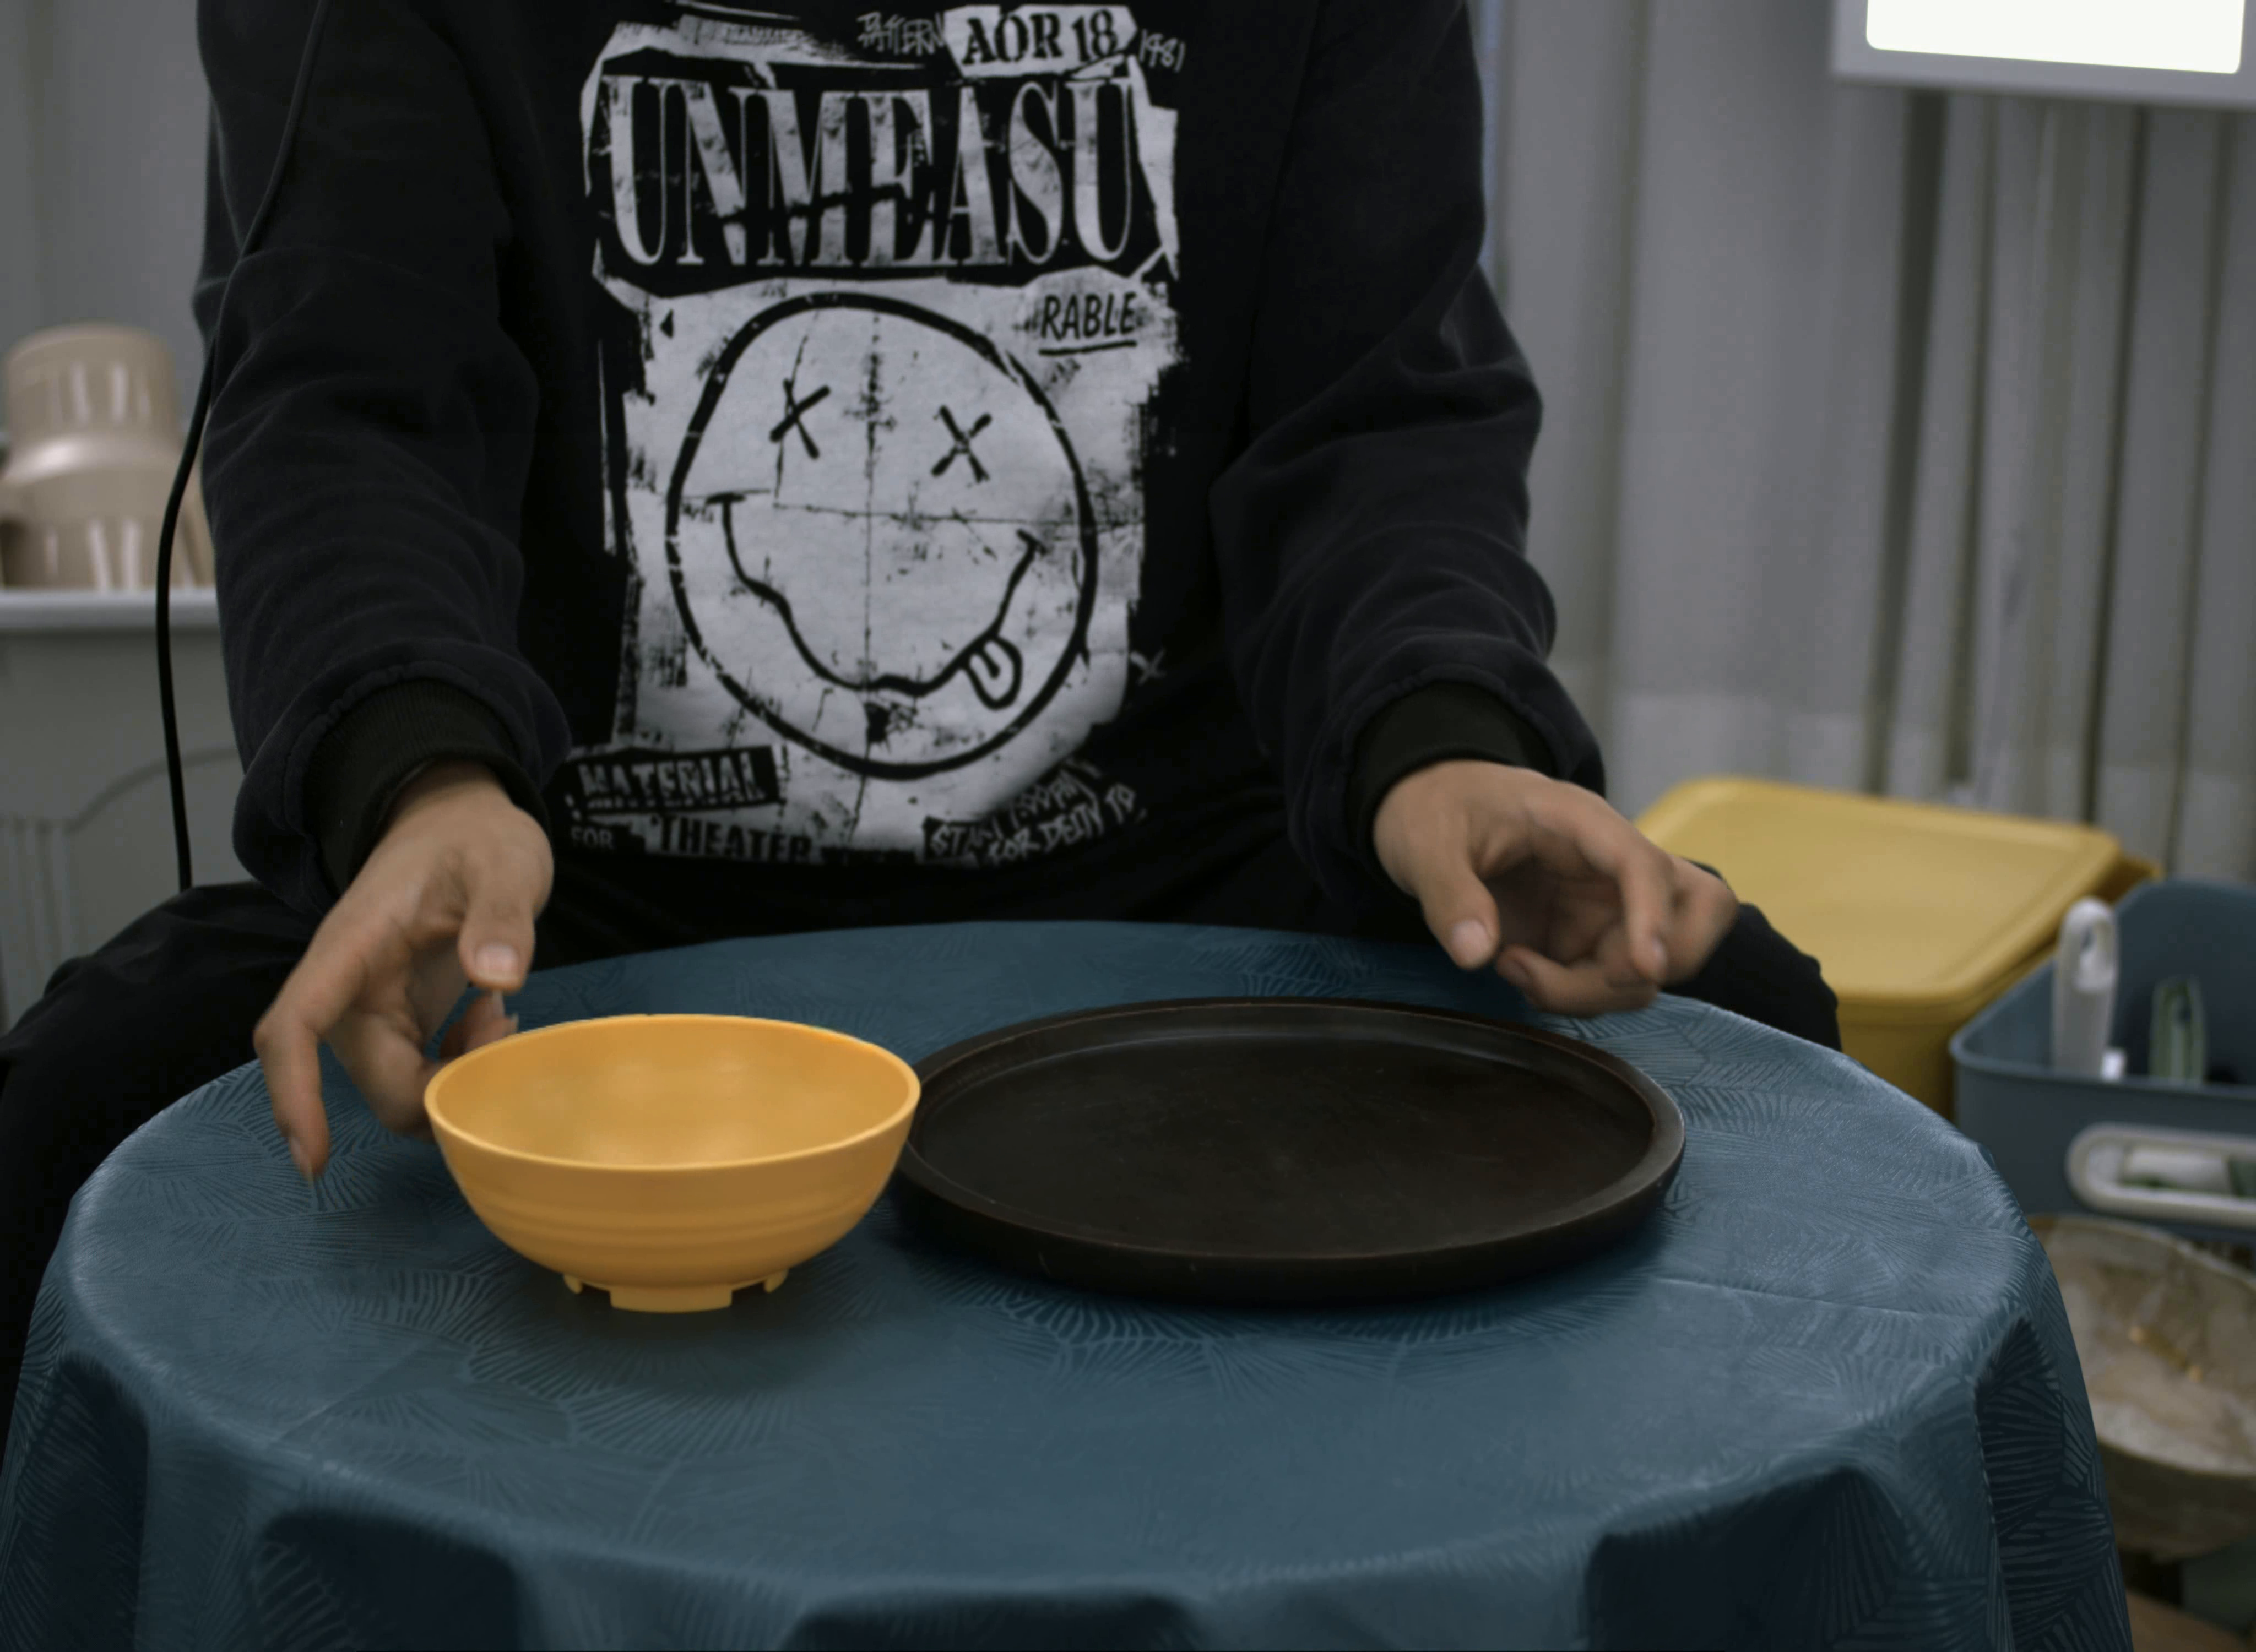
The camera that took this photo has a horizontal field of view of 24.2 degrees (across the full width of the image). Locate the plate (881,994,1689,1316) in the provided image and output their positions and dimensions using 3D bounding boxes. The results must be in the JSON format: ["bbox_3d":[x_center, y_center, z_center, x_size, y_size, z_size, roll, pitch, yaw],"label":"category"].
[{"bbox_3d":[0.047,0.099,1.632,0.254,0.029,0.253,-1,15,1],"label":"plate"}]

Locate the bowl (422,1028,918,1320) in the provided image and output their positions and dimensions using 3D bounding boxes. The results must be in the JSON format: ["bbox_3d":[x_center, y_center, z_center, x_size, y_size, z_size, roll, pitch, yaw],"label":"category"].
[{"bbox_3d":[-0.134,0.106,1.542,0.145,0.060,0.144,2,14,0],"label":"bowl"}]
